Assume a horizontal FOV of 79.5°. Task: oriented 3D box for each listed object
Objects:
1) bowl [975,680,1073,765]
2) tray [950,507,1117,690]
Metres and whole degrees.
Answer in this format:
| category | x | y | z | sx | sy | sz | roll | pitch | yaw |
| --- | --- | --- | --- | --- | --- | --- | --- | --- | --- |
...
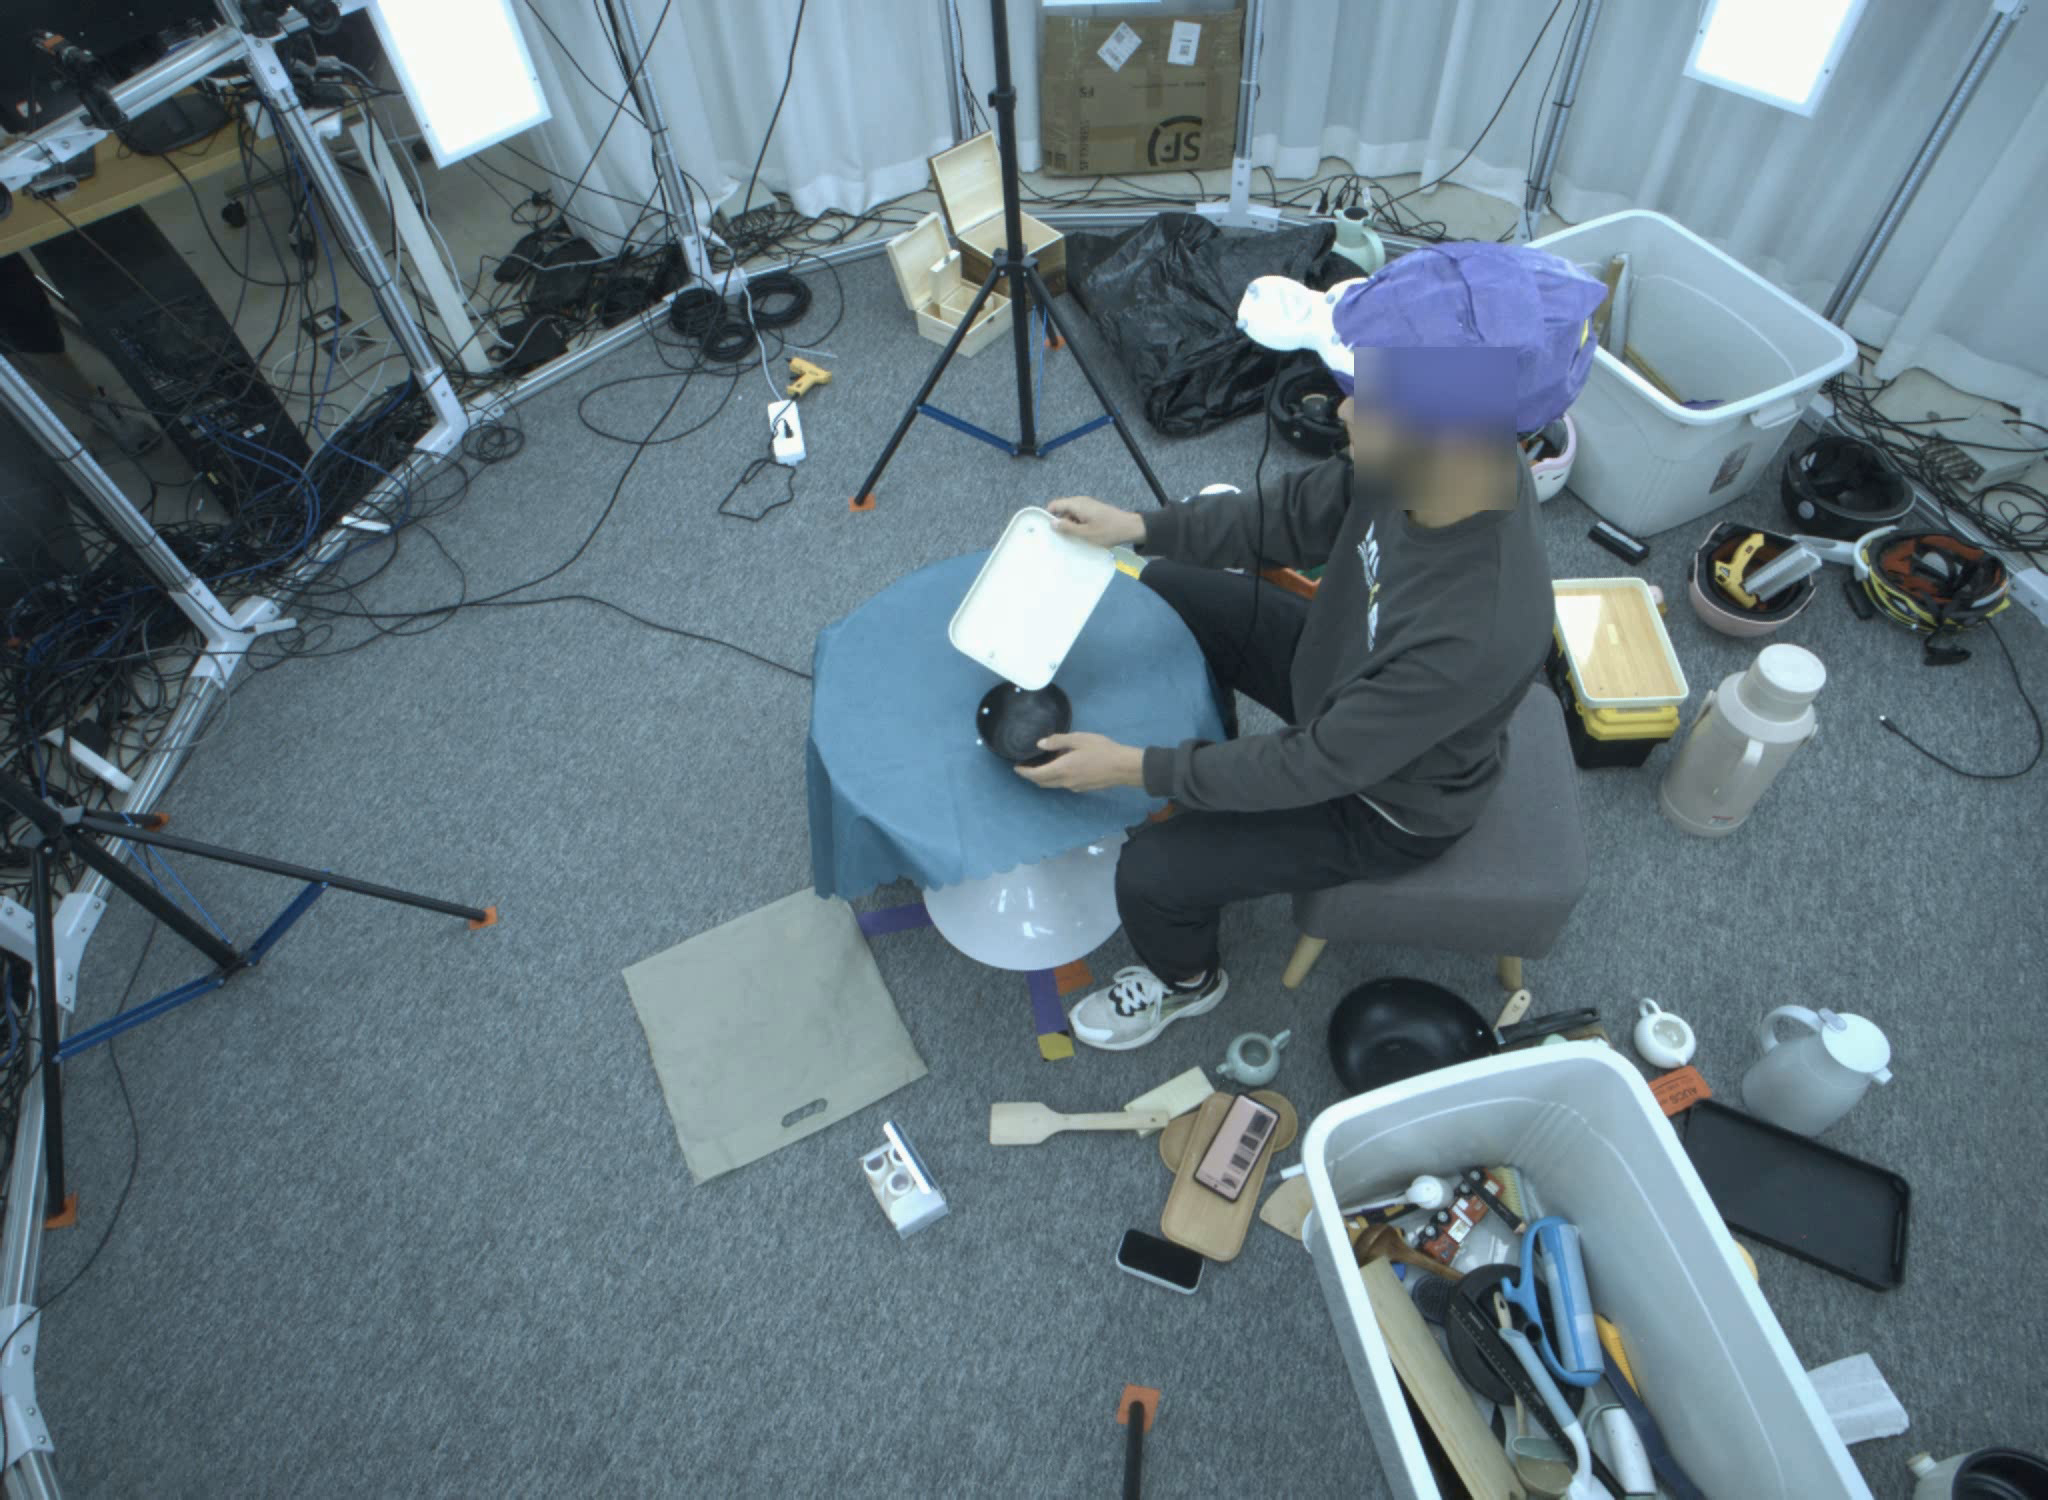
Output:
| category | x | y | z | sx | sy | sz | roll | pitch | yaw |
| --- | --- | --- | --- | --- | --- | --- | --- | --- | --- |
| bowl | 0.001 | -0.032 | 1.766 | 0.137 | 0.067 | 0.169 | 6 | 46 | 5 |
| tray | 0.013 | -0.221 | 1.793 | 0.171 | 0.017 | 0.239 | 31 | 91 | -1 |
